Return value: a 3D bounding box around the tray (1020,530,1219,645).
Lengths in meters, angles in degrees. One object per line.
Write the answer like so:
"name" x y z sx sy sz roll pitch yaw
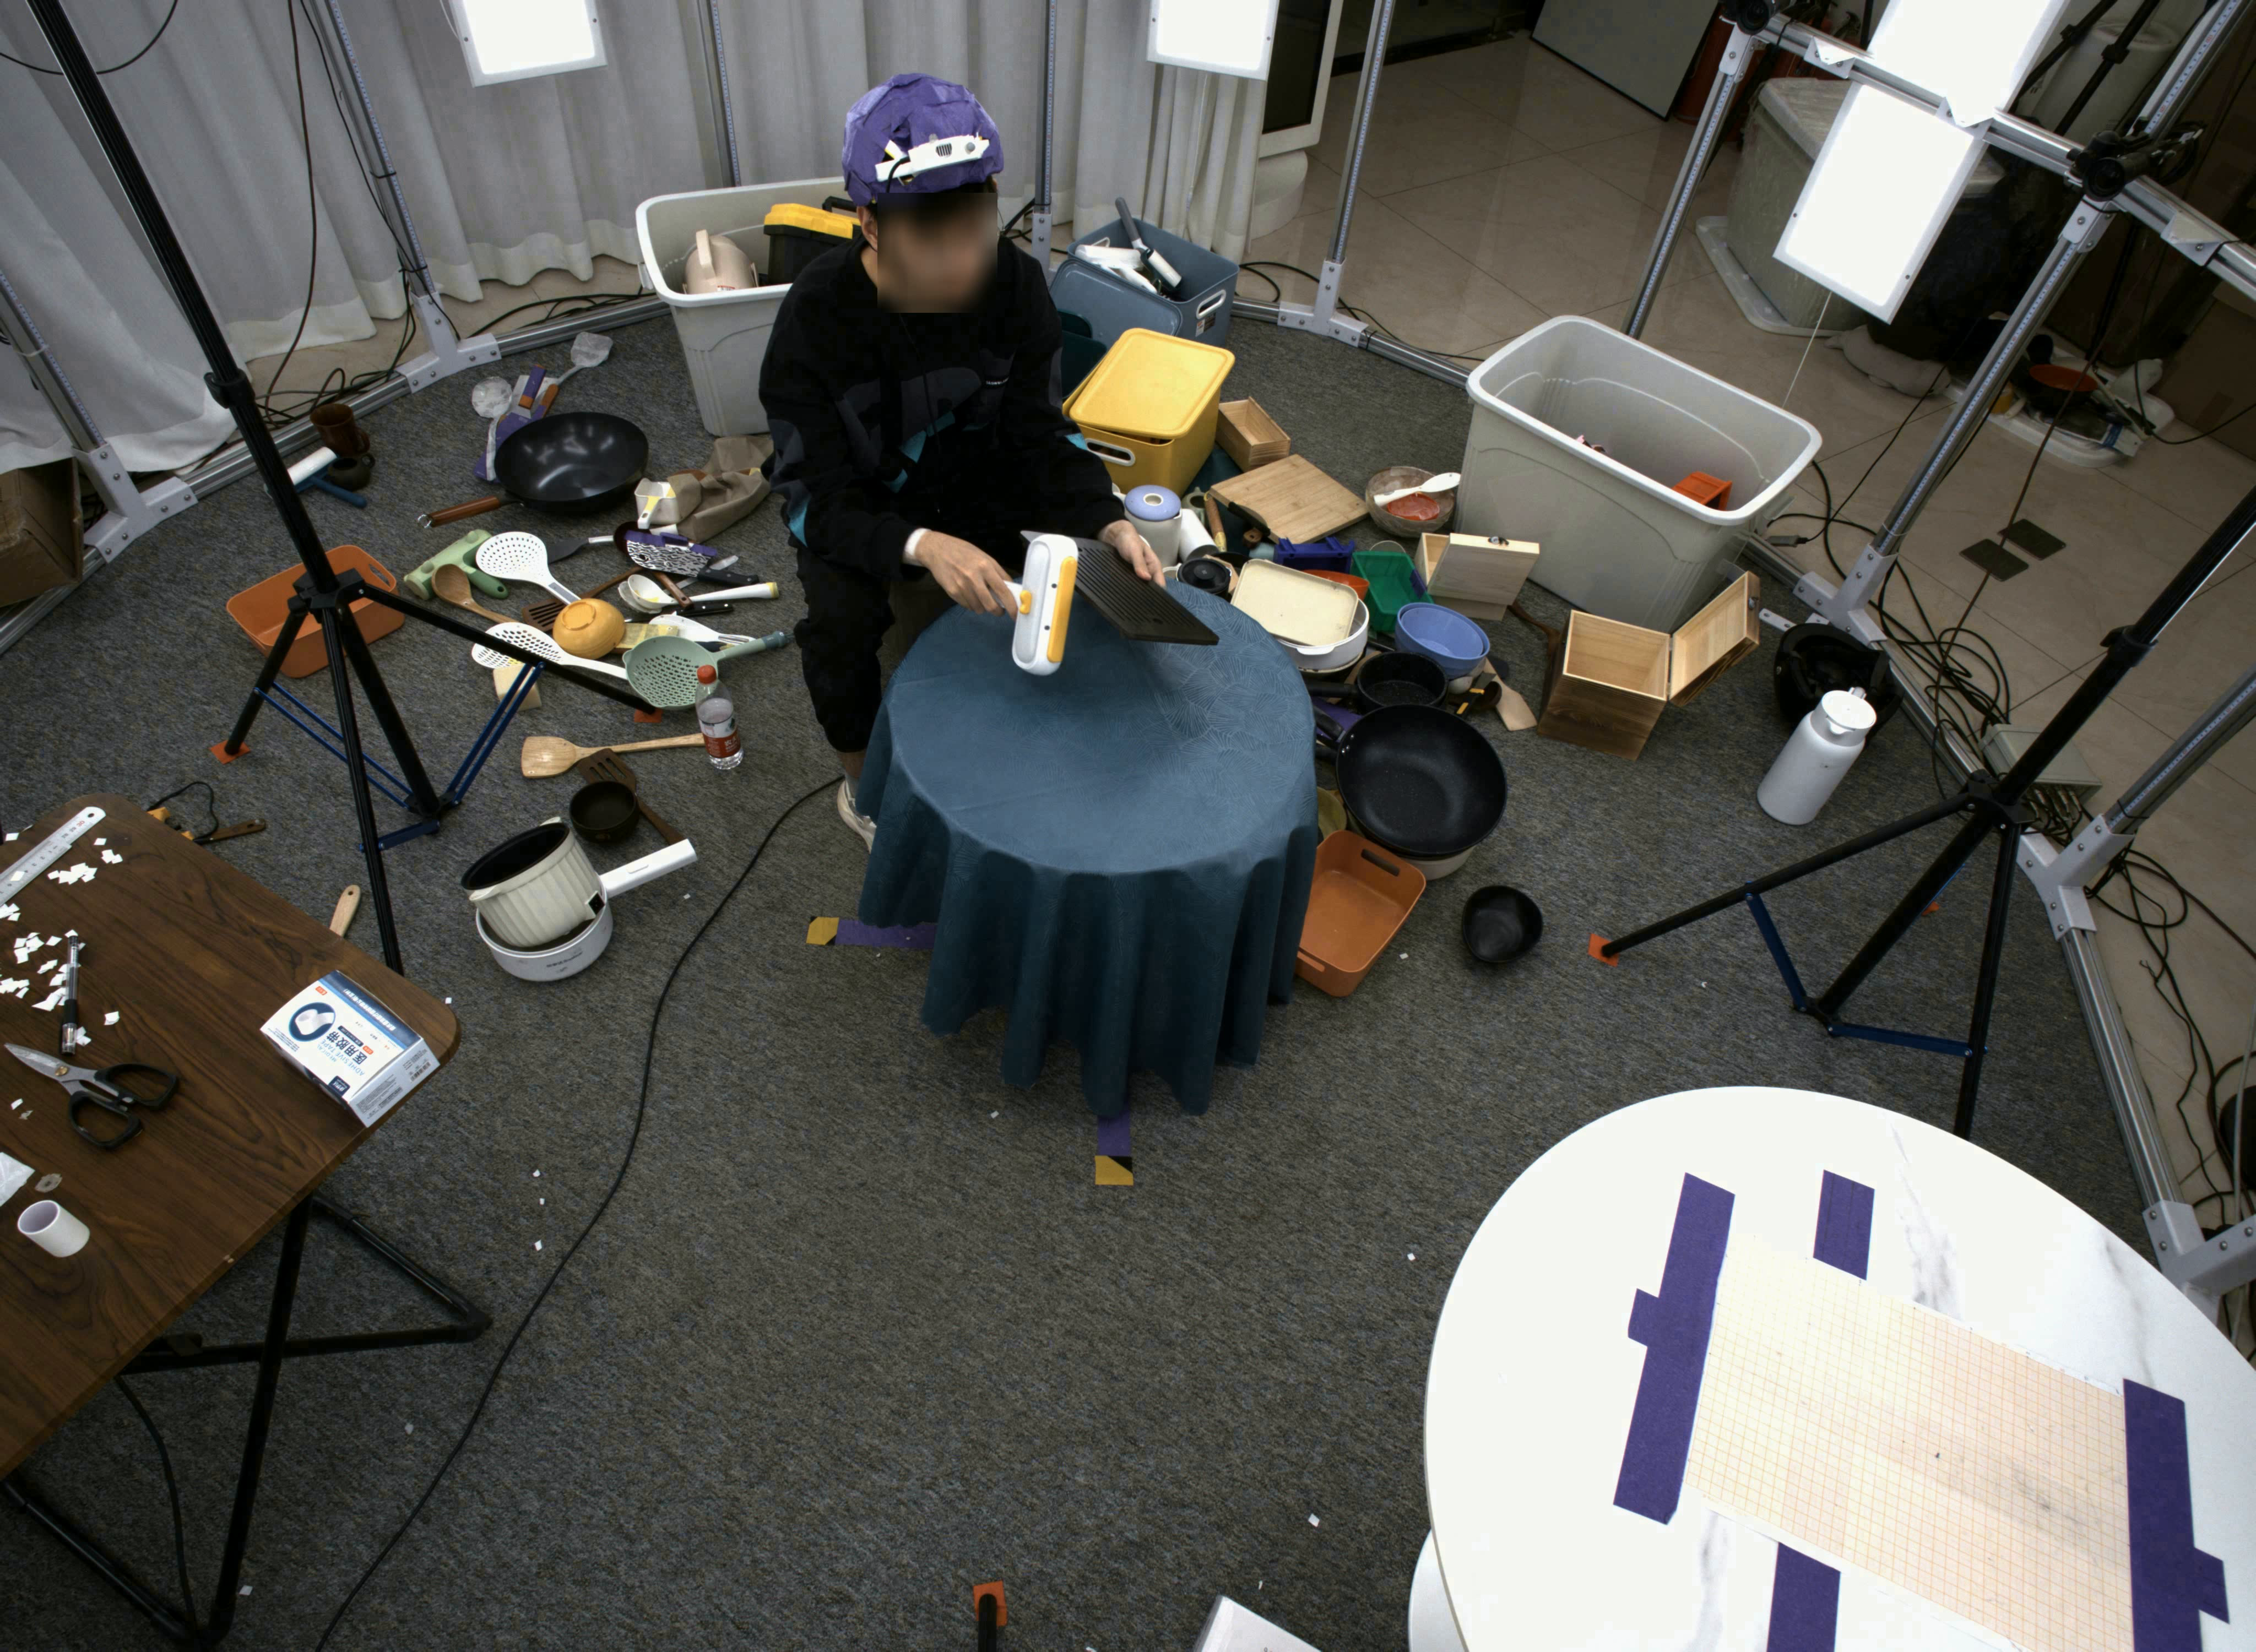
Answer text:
"tray" -0.016 -0.335 1.817 0.169 0.018 0.312 -2 36 -38

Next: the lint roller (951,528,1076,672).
"lint roller" -0.159 -0.318 1.780 0.194 0.191 0.074 15 17 38
